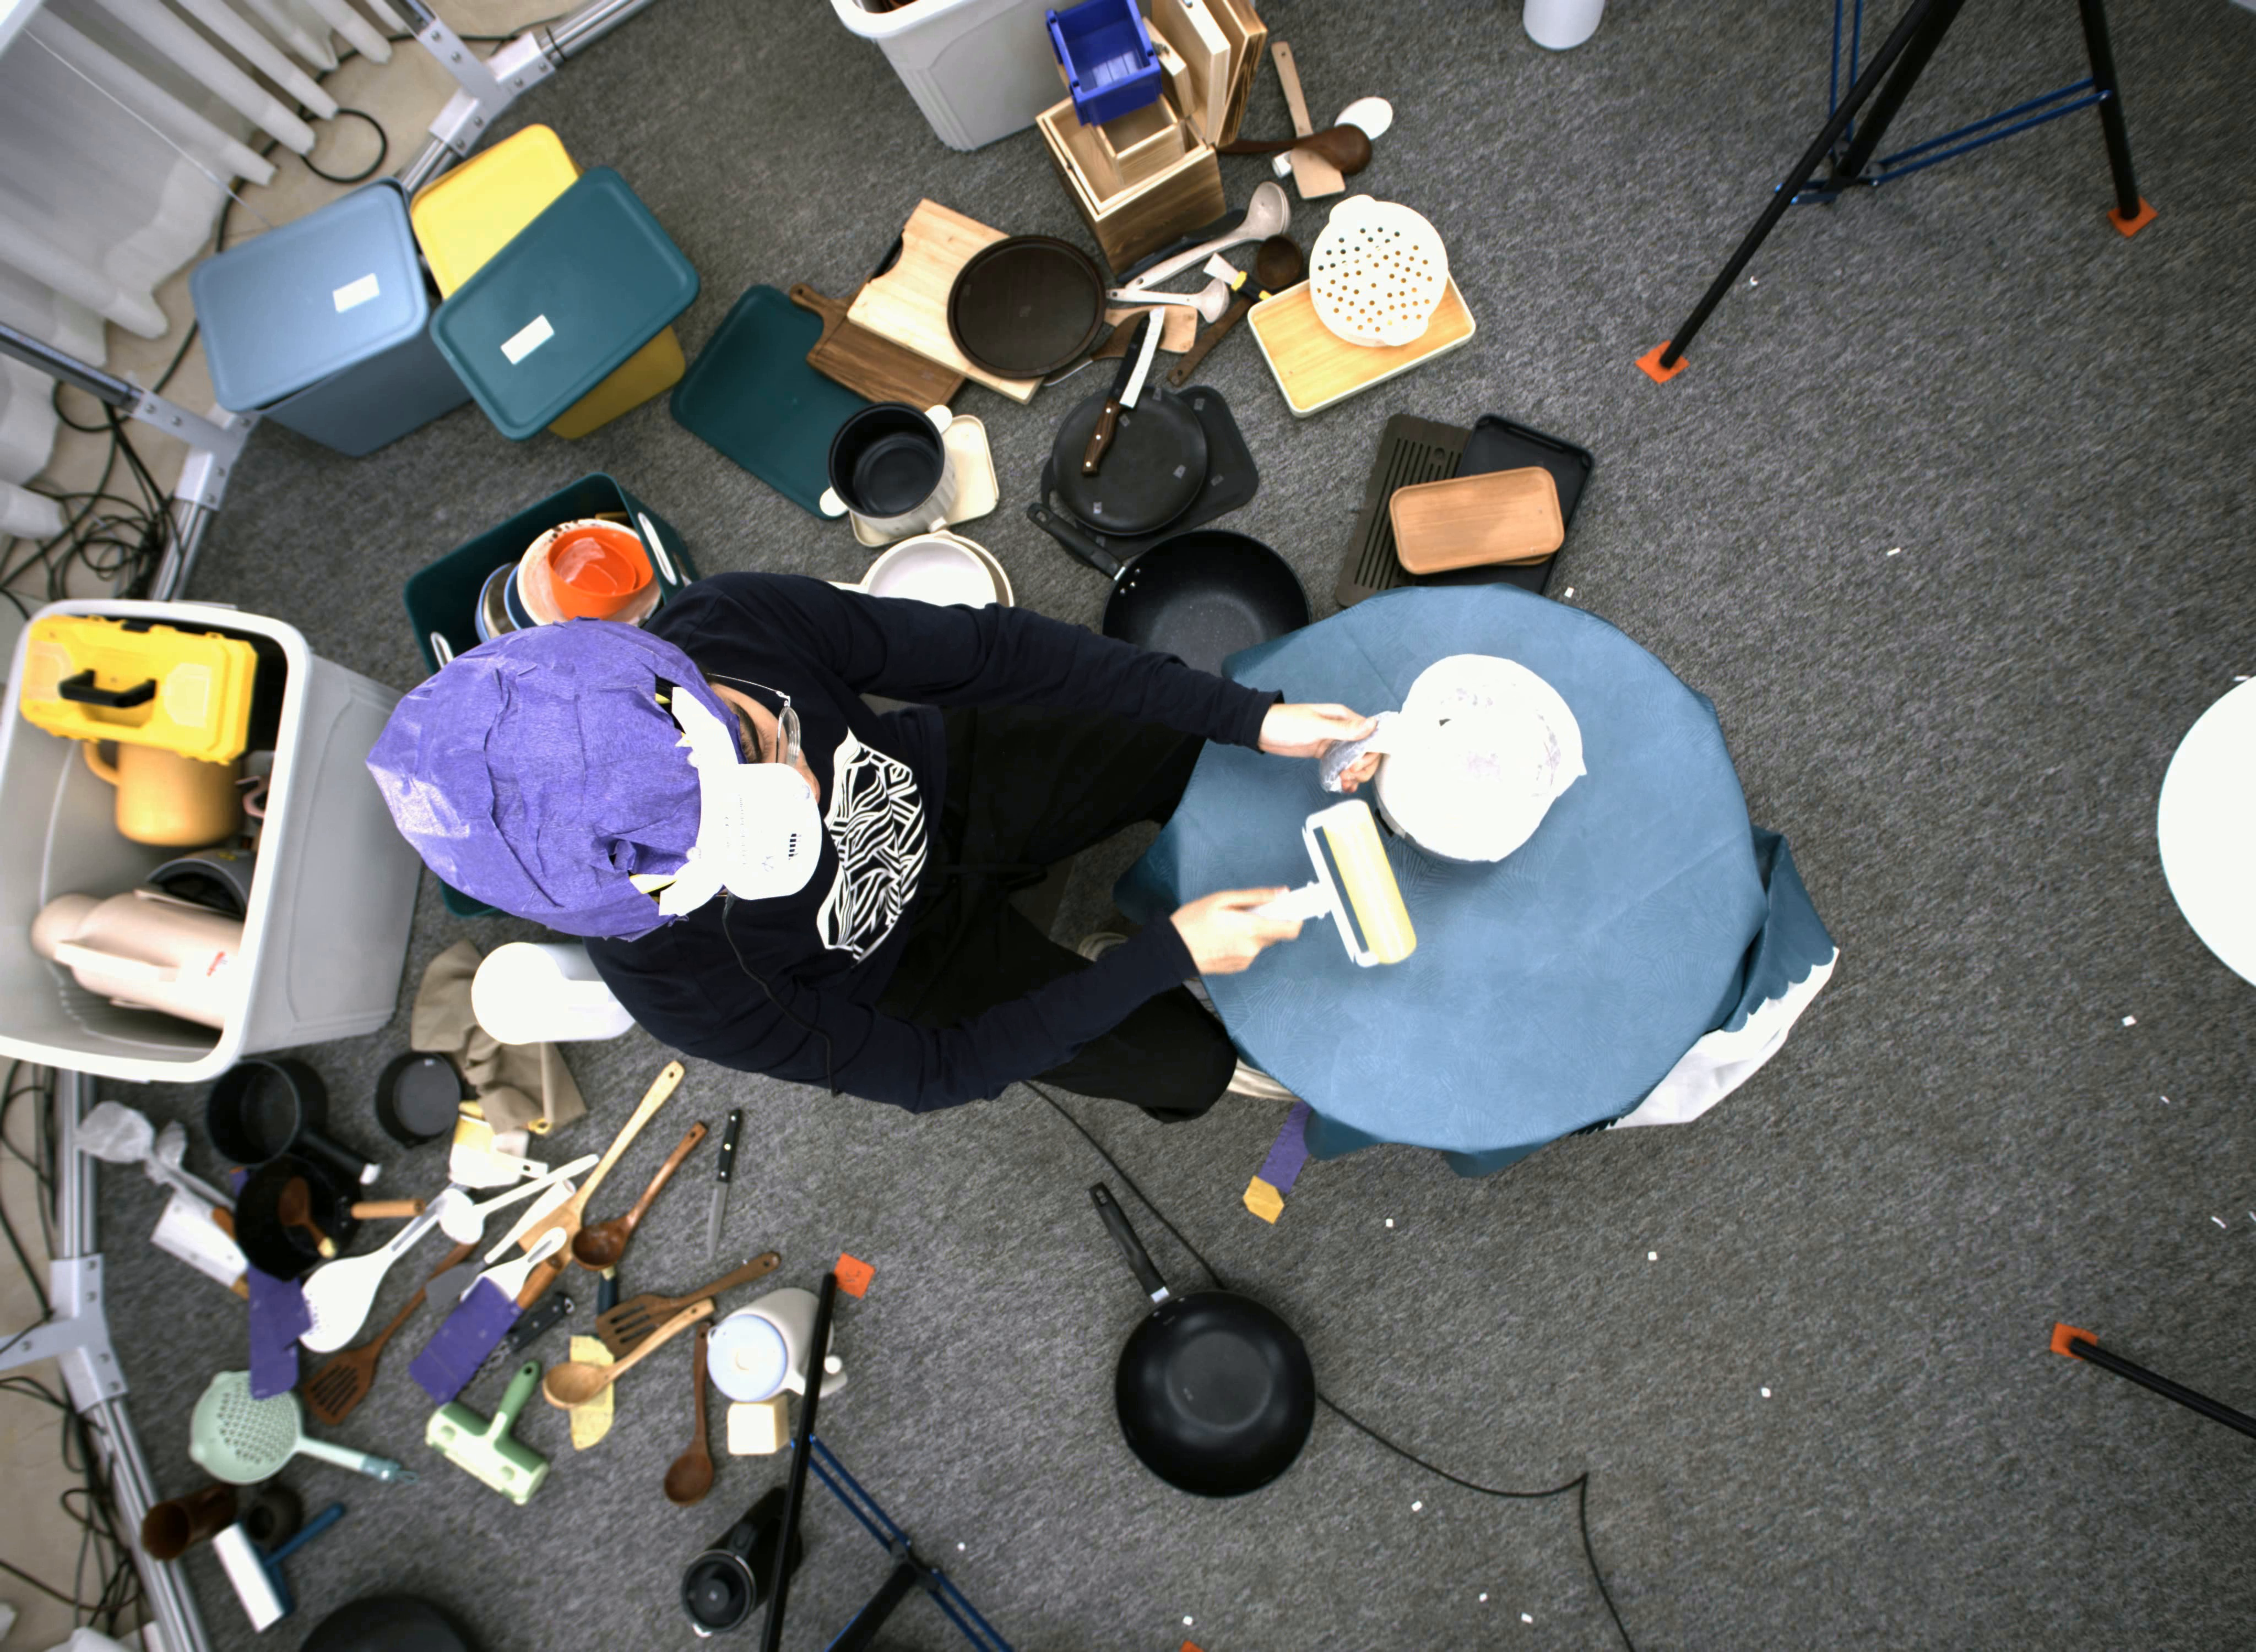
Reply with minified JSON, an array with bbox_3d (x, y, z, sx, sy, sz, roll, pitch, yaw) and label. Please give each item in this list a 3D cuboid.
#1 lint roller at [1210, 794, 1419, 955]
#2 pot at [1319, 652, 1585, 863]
[{"bbox_3d":[0.172,0.076,1.361,0.193,0.050,0.177,-25,118,5],"label":"lint roller"},{"bbox_3d":[0.312,-0.067,1.351,0.233,0.140,0.174,4,59,-10],"label":"pot"}]
